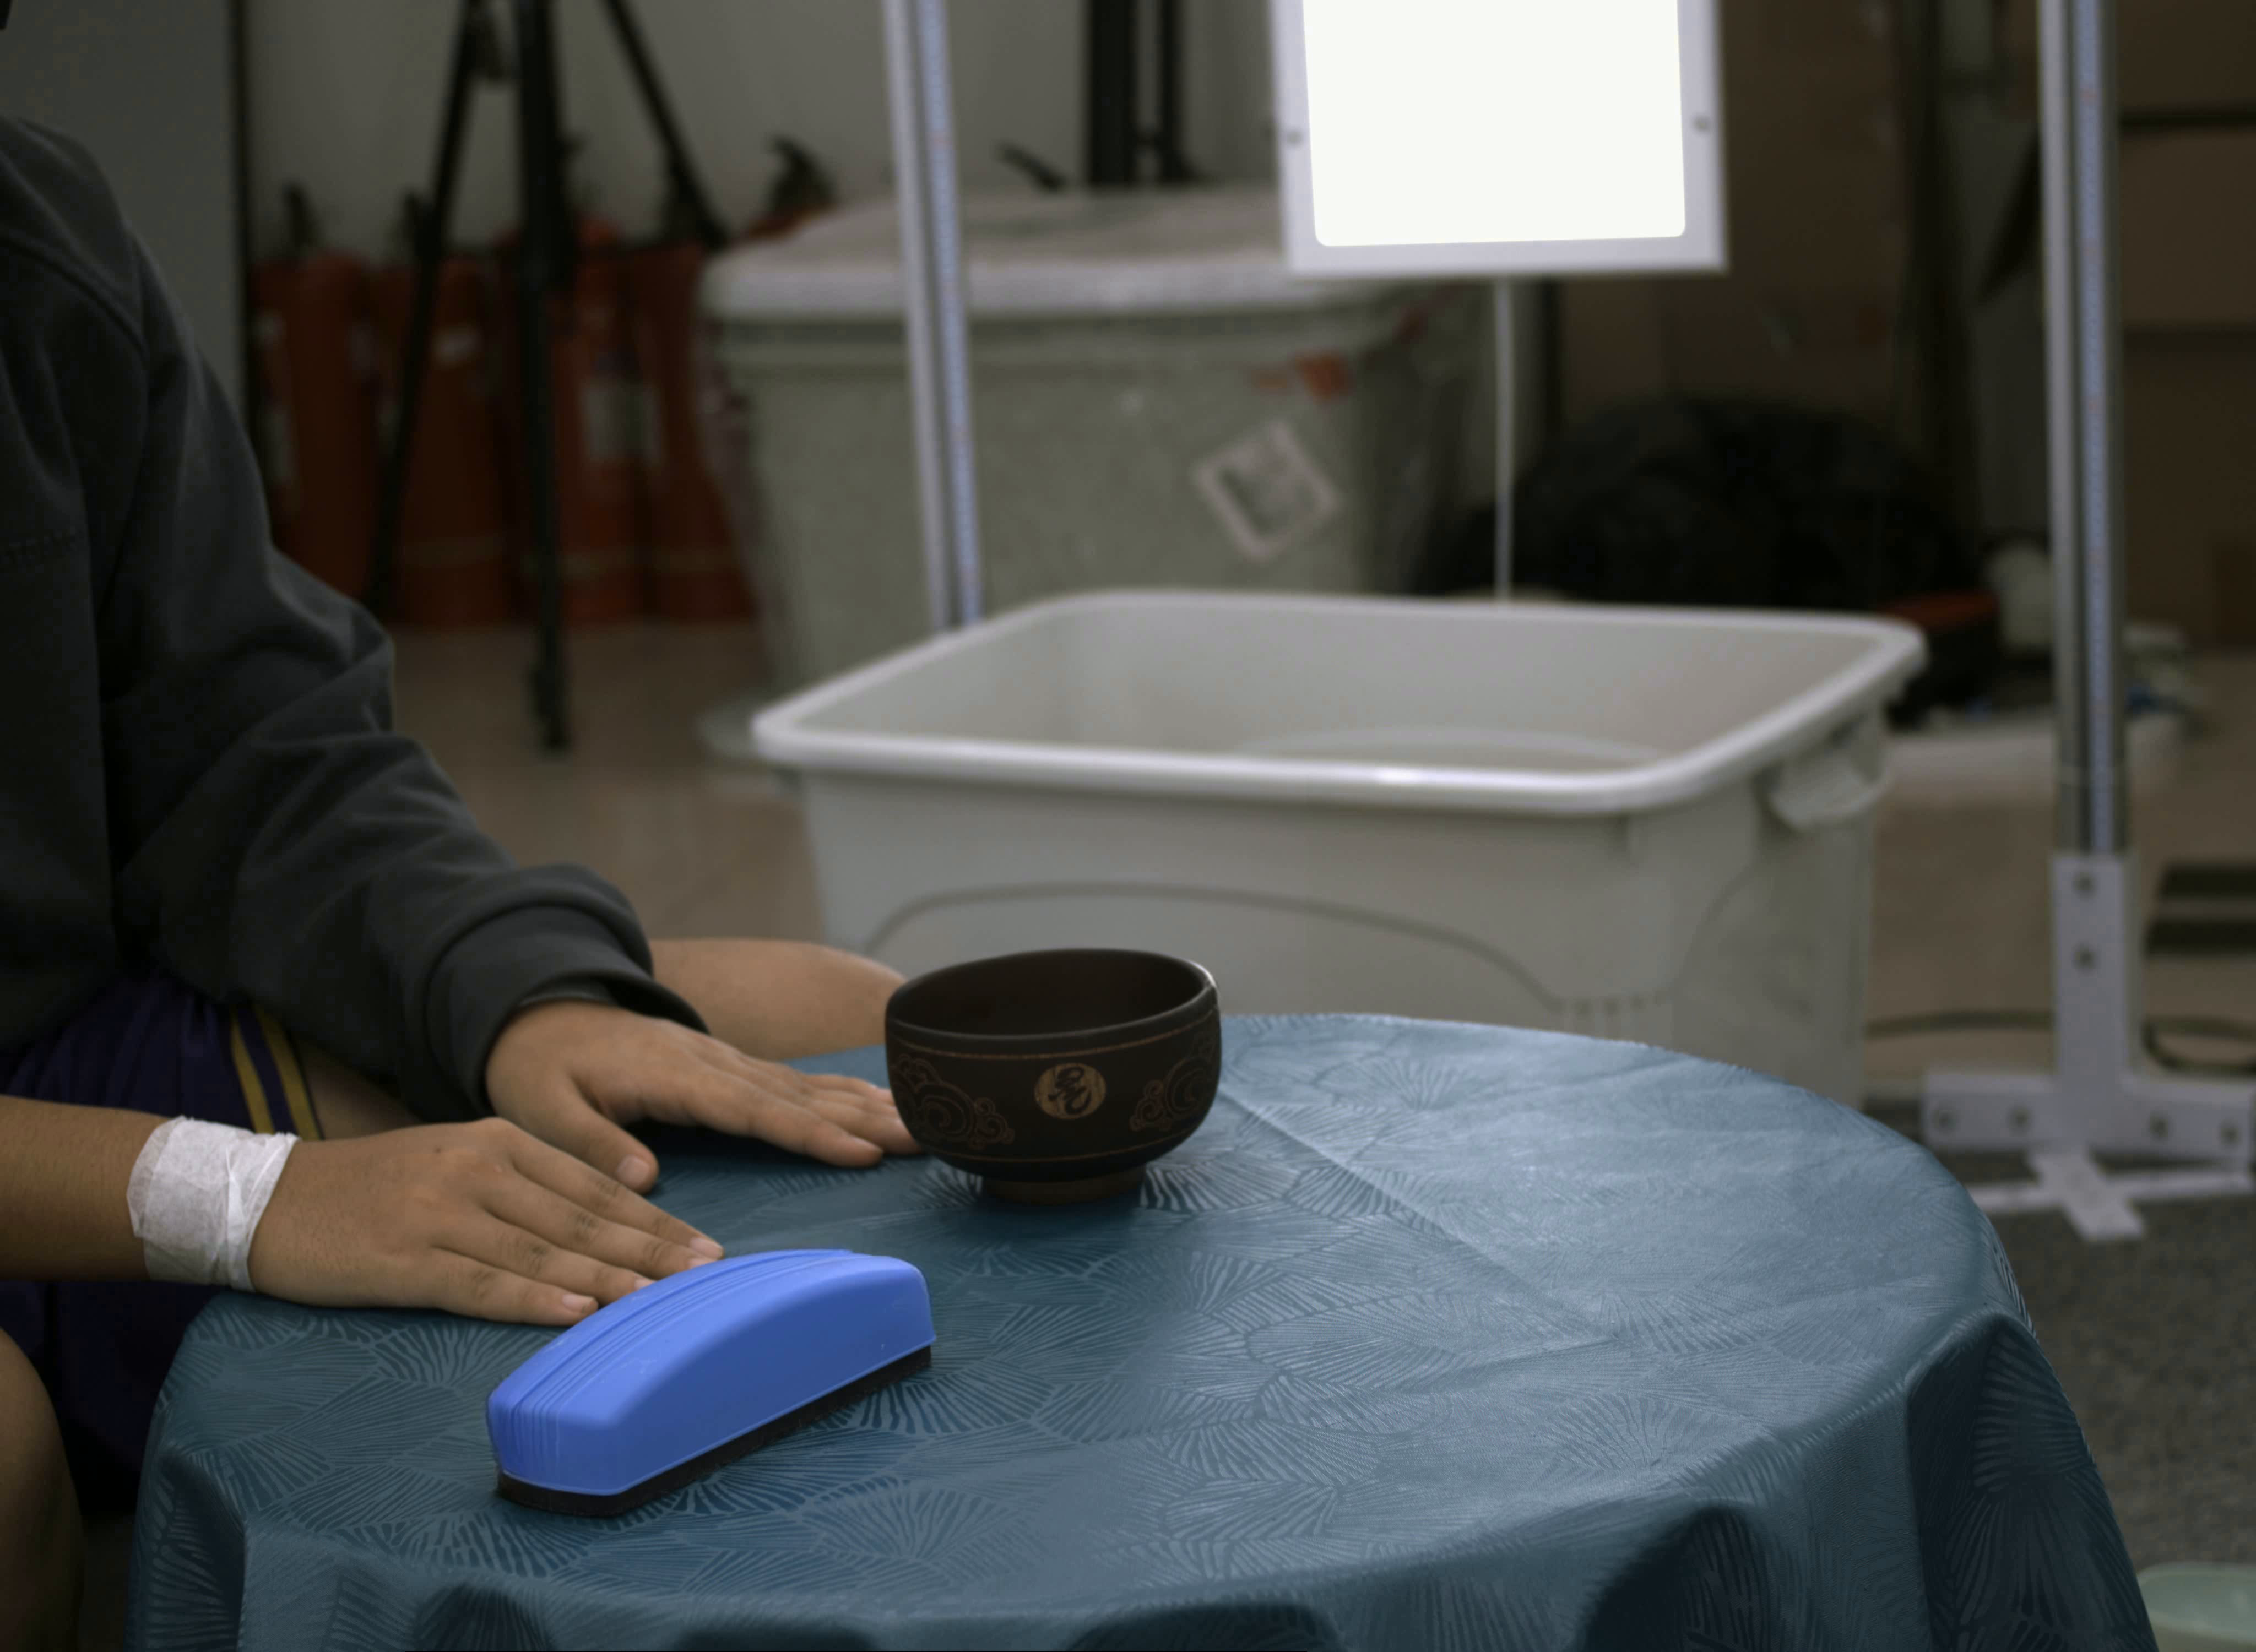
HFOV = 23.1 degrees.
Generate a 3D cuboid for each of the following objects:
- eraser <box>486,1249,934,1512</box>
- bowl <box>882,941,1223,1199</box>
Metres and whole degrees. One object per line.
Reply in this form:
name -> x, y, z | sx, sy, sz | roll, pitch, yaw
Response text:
eraser -> -0.127, 0.163, 1.696 | 0.055, 0.048, 0.158 | 7, 18, 37
bowl -> -0.024, 0.088, 1.908 | 0.118, 0.070, 0.118 | -6, 14, 0
